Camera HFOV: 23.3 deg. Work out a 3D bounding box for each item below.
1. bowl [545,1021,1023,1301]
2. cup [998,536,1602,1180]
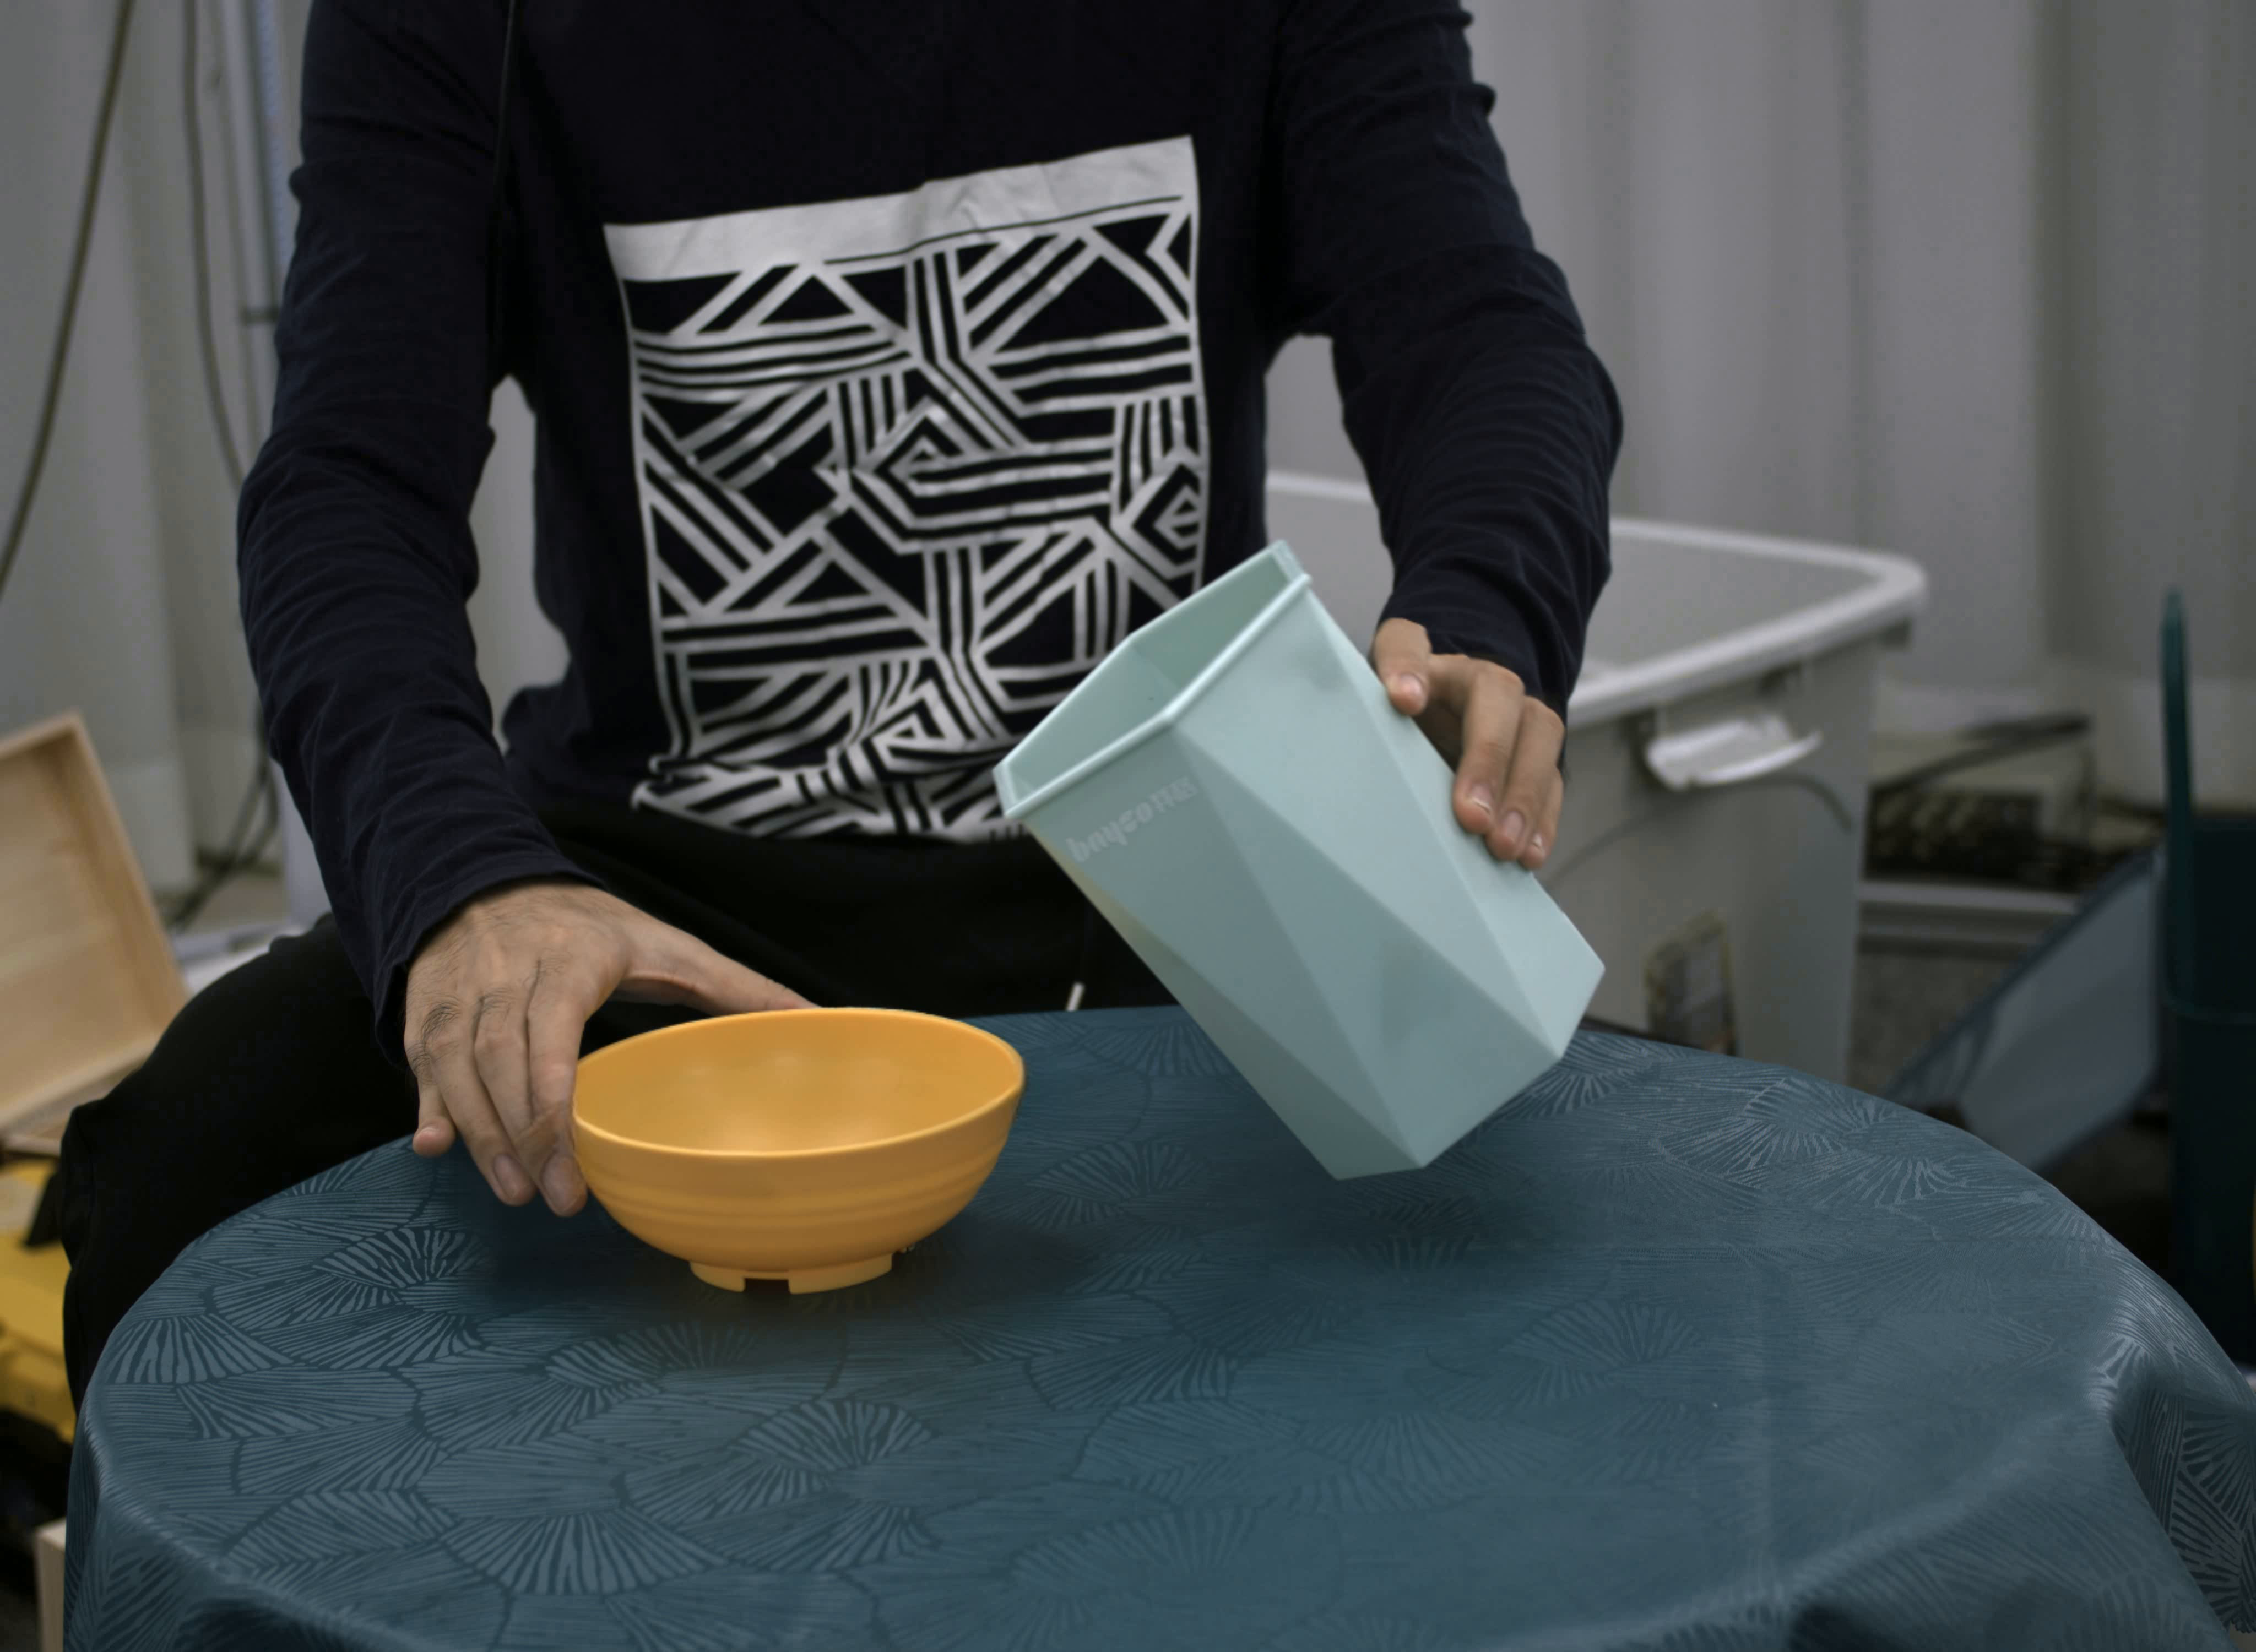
[{"bbox_3d":[-0.103,0.107,1.664,0.145,0.060,0.146,-2,12,0],"label":"bowl"},{"bbox_3d":[0.056,0.014,1.645,0.130,0.162,0.116,-31,12,31],"label":"cup"}]
